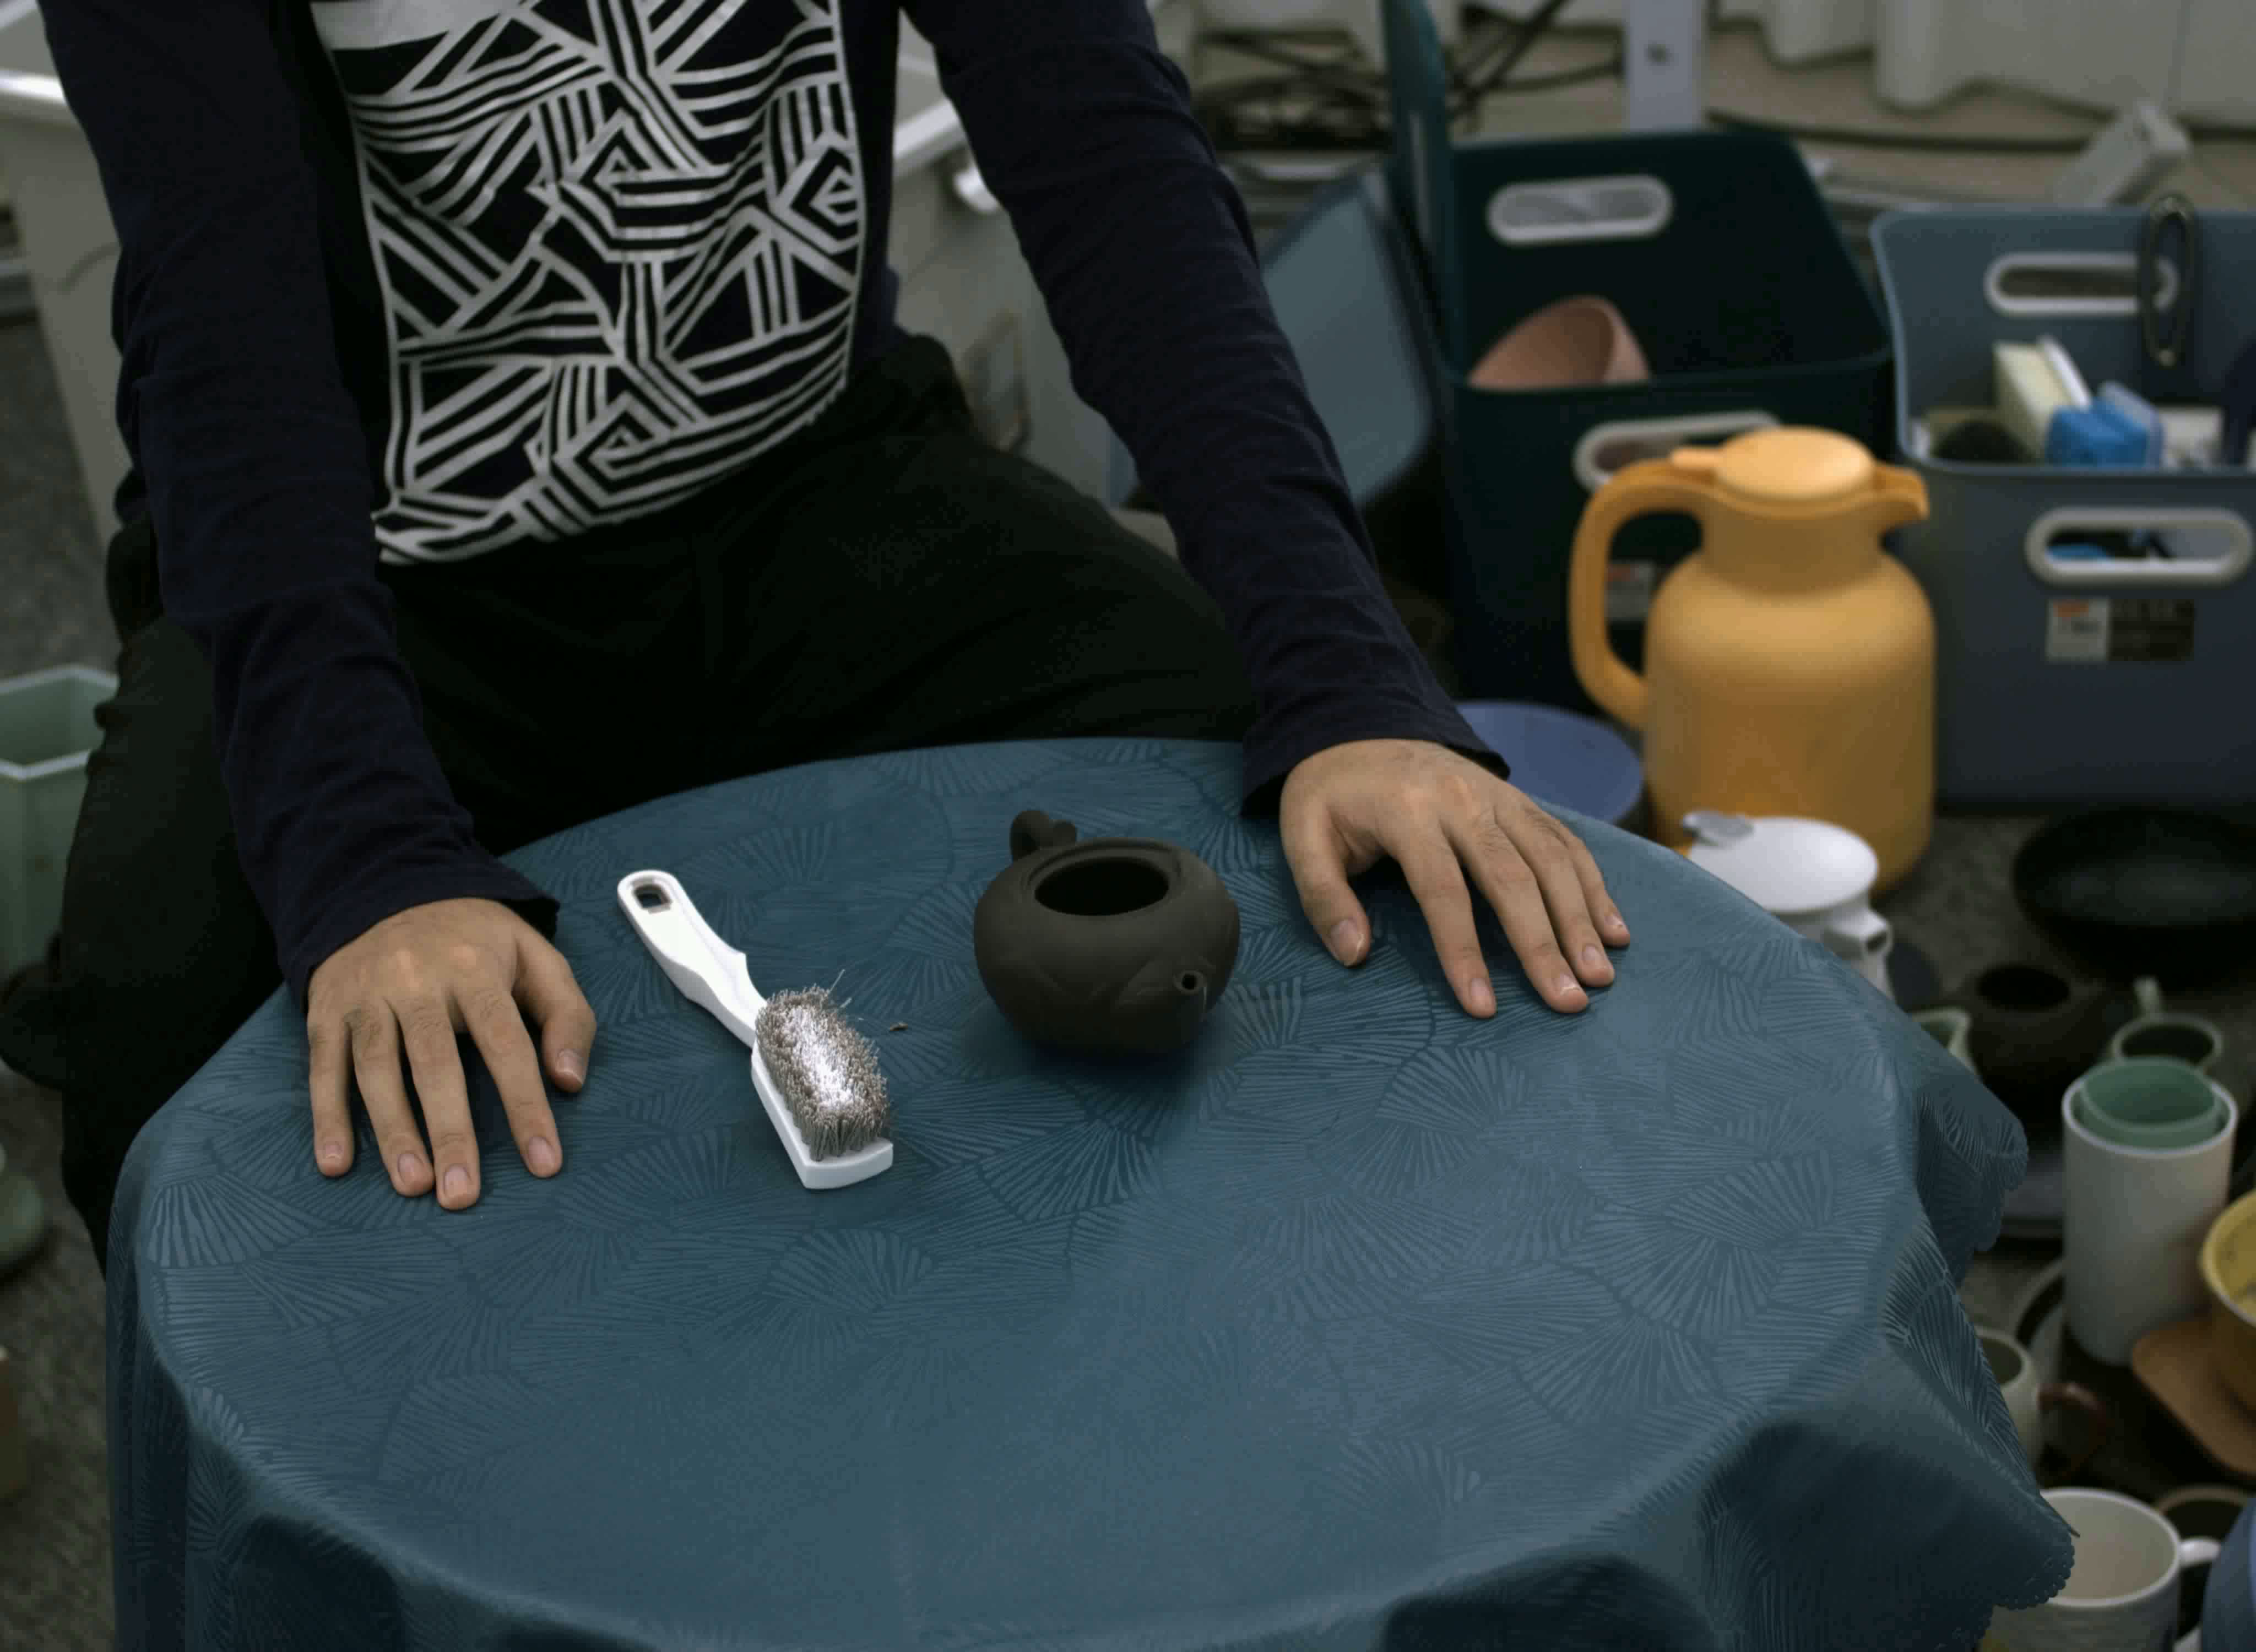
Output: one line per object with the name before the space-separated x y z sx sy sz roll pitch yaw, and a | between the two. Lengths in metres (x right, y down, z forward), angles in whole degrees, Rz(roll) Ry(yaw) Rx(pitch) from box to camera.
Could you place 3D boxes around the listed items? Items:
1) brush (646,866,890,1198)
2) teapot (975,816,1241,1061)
brush | -0.131 0.054 1.952 0.034 0.049 0.246 -16 30 -13
teapot | -0.008 0.041 1.950 0.092 0.064 0.155 -13 28 -18
